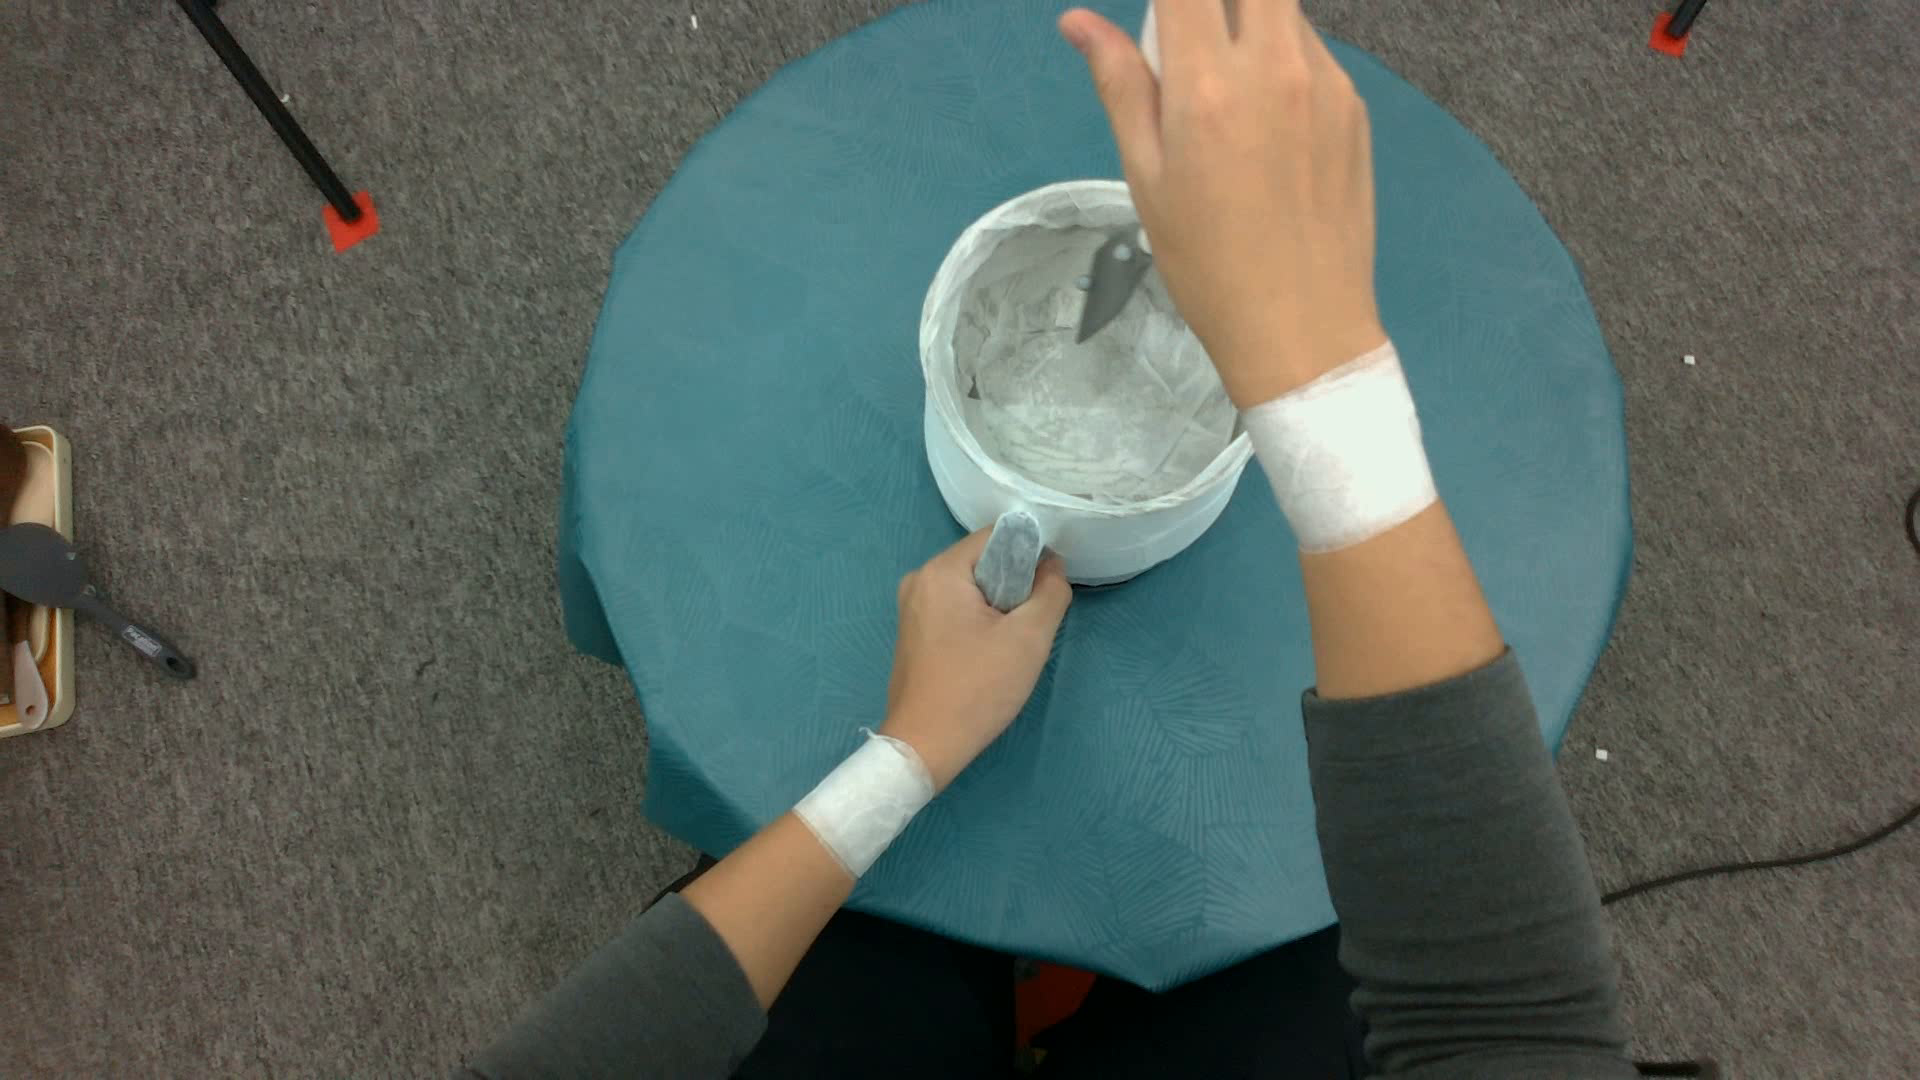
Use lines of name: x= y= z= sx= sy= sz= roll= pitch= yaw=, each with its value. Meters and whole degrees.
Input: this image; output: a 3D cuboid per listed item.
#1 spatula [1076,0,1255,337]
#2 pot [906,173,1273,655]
spatula: x=0.078 y=-0.148 z=0.587 sx=0.032 sy=0.287 sz=0.059 roll=11 pitch=82 yaw=1
pot: x=0.050 y=-0.056 z=0.712 sx=0.178 sy=0.136 sz=0.234 roll=22 pitch=73 yaw=6
